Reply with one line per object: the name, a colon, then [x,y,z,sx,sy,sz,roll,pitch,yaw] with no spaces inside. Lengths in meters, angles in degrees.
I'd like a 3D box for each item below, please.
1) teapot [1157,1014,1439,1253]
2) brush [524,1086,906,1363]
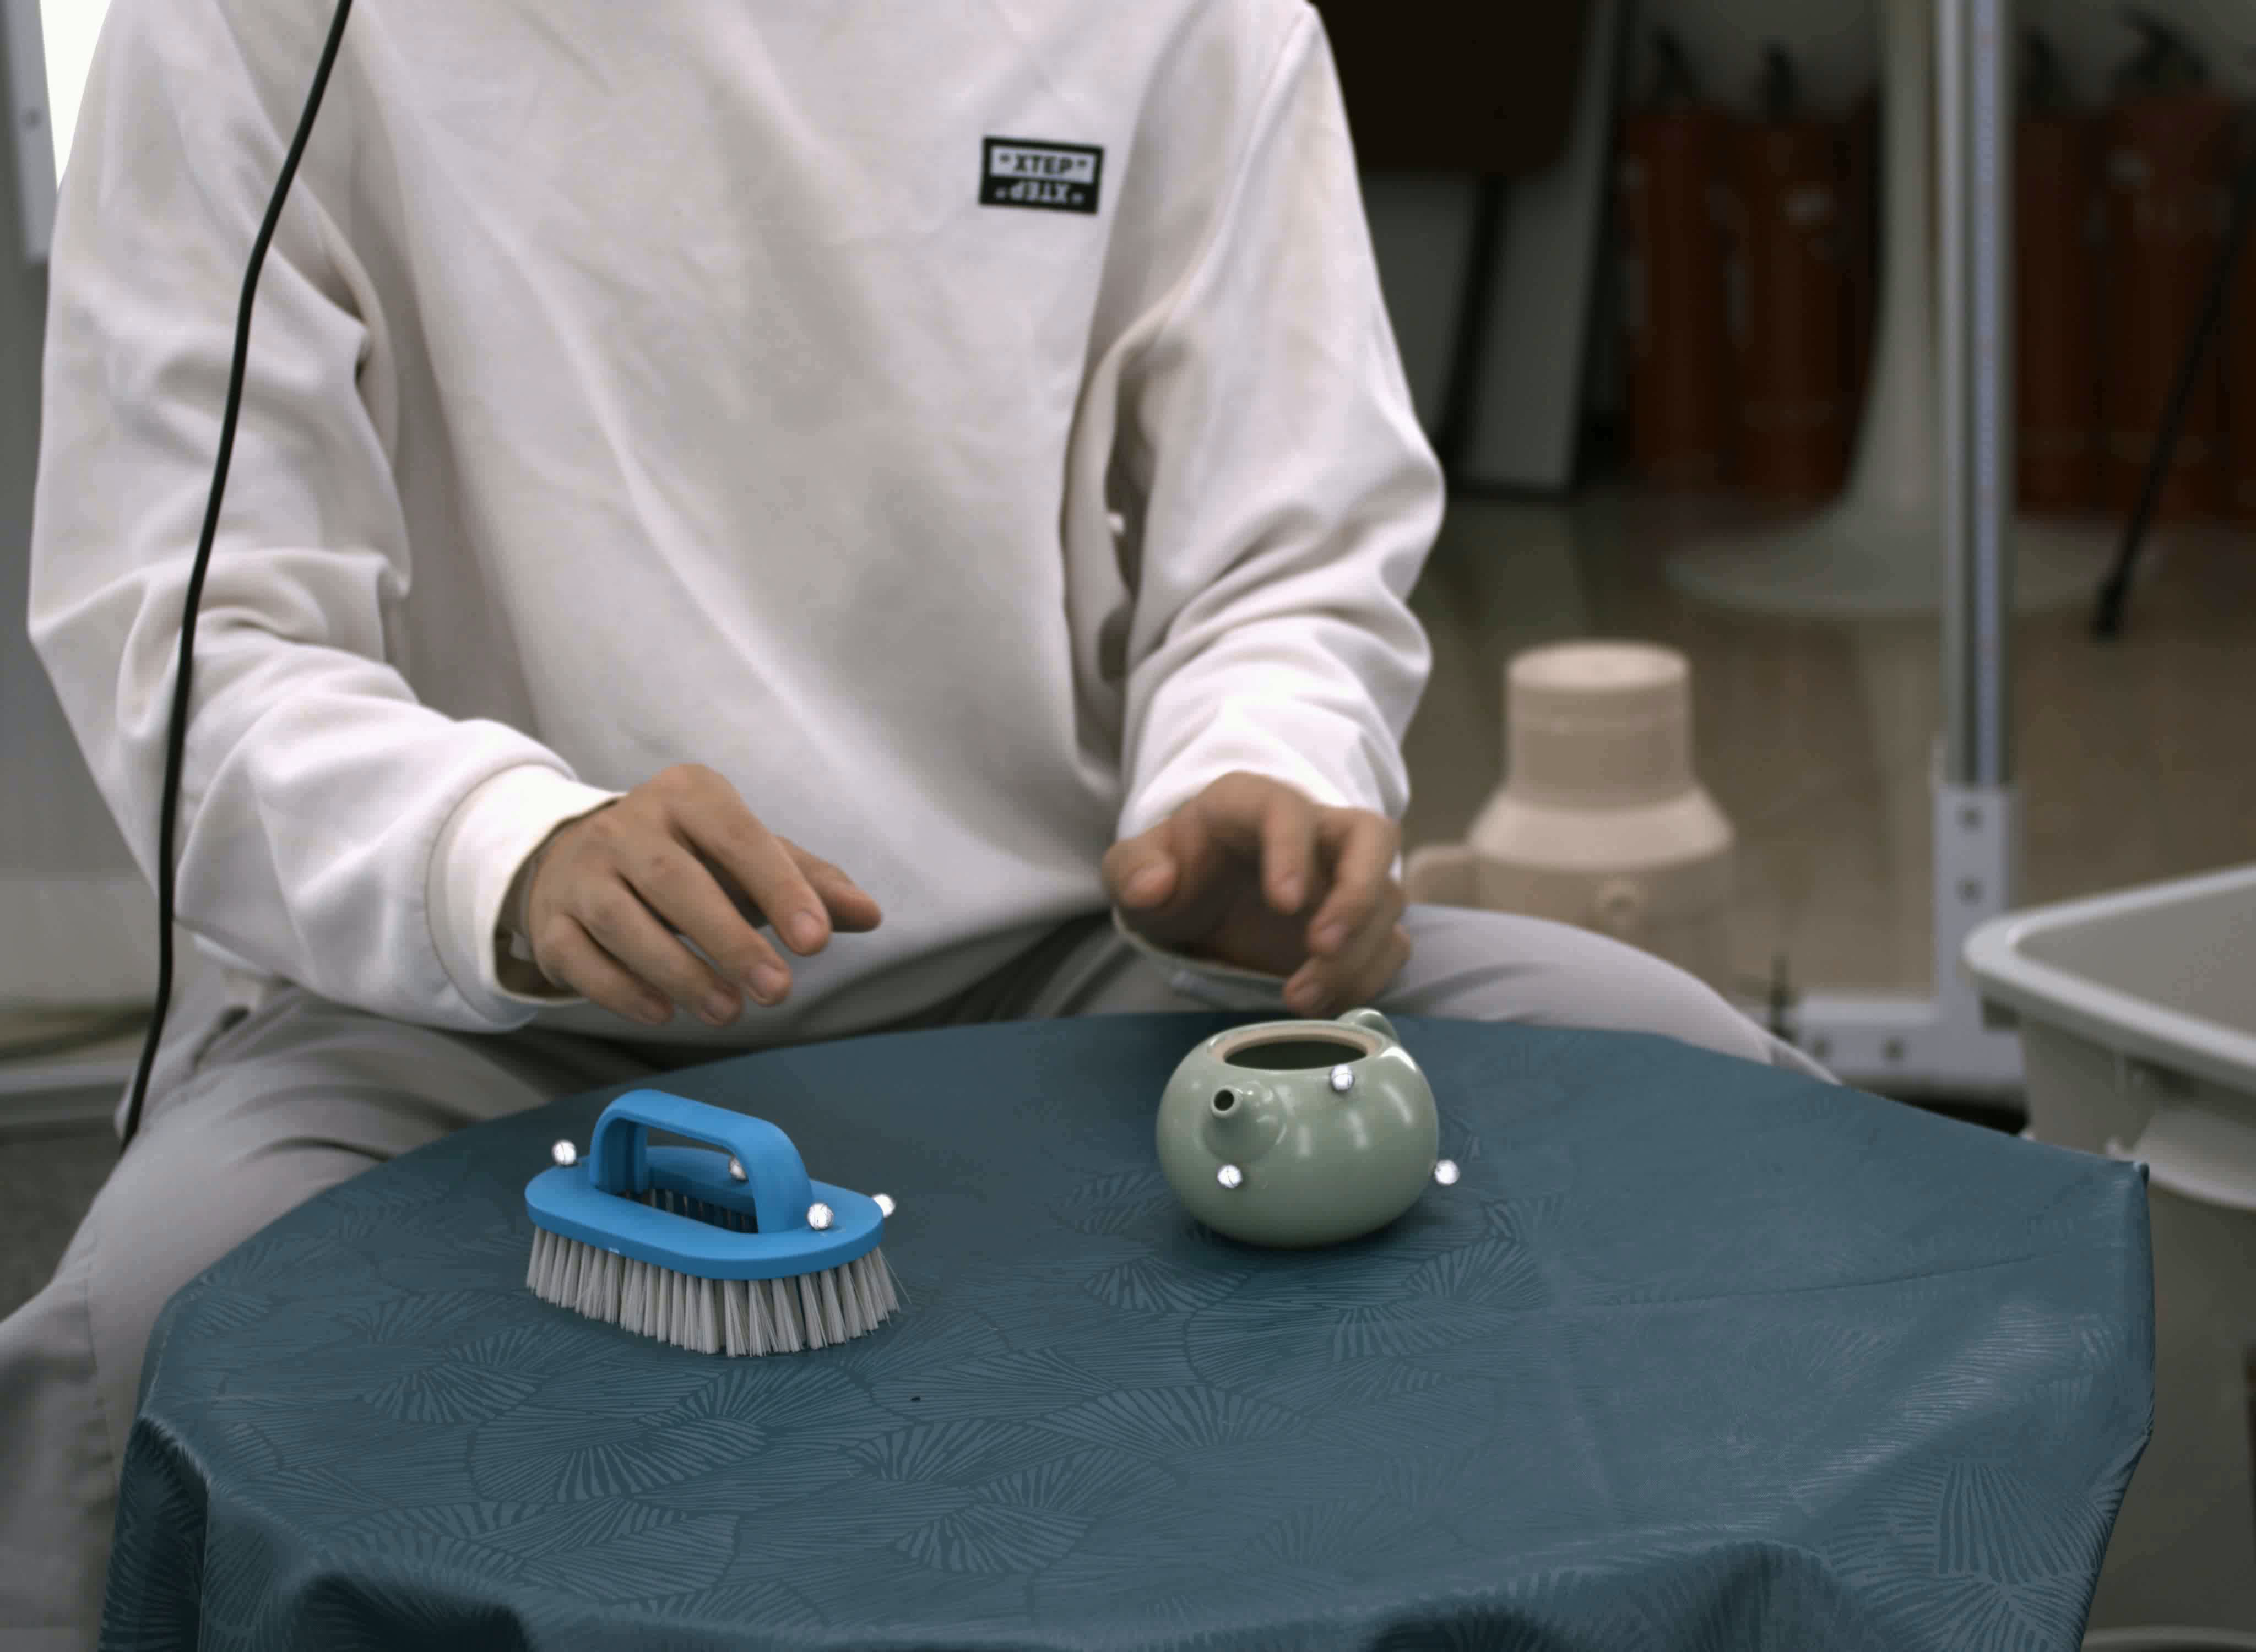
teapot: [0.060,0.098,1.732,0.092,0.061,0.126,2,13,33]
brush: [-0.133,0.117,1.690,0.082,0.064,0.143,-21,20,-37]
